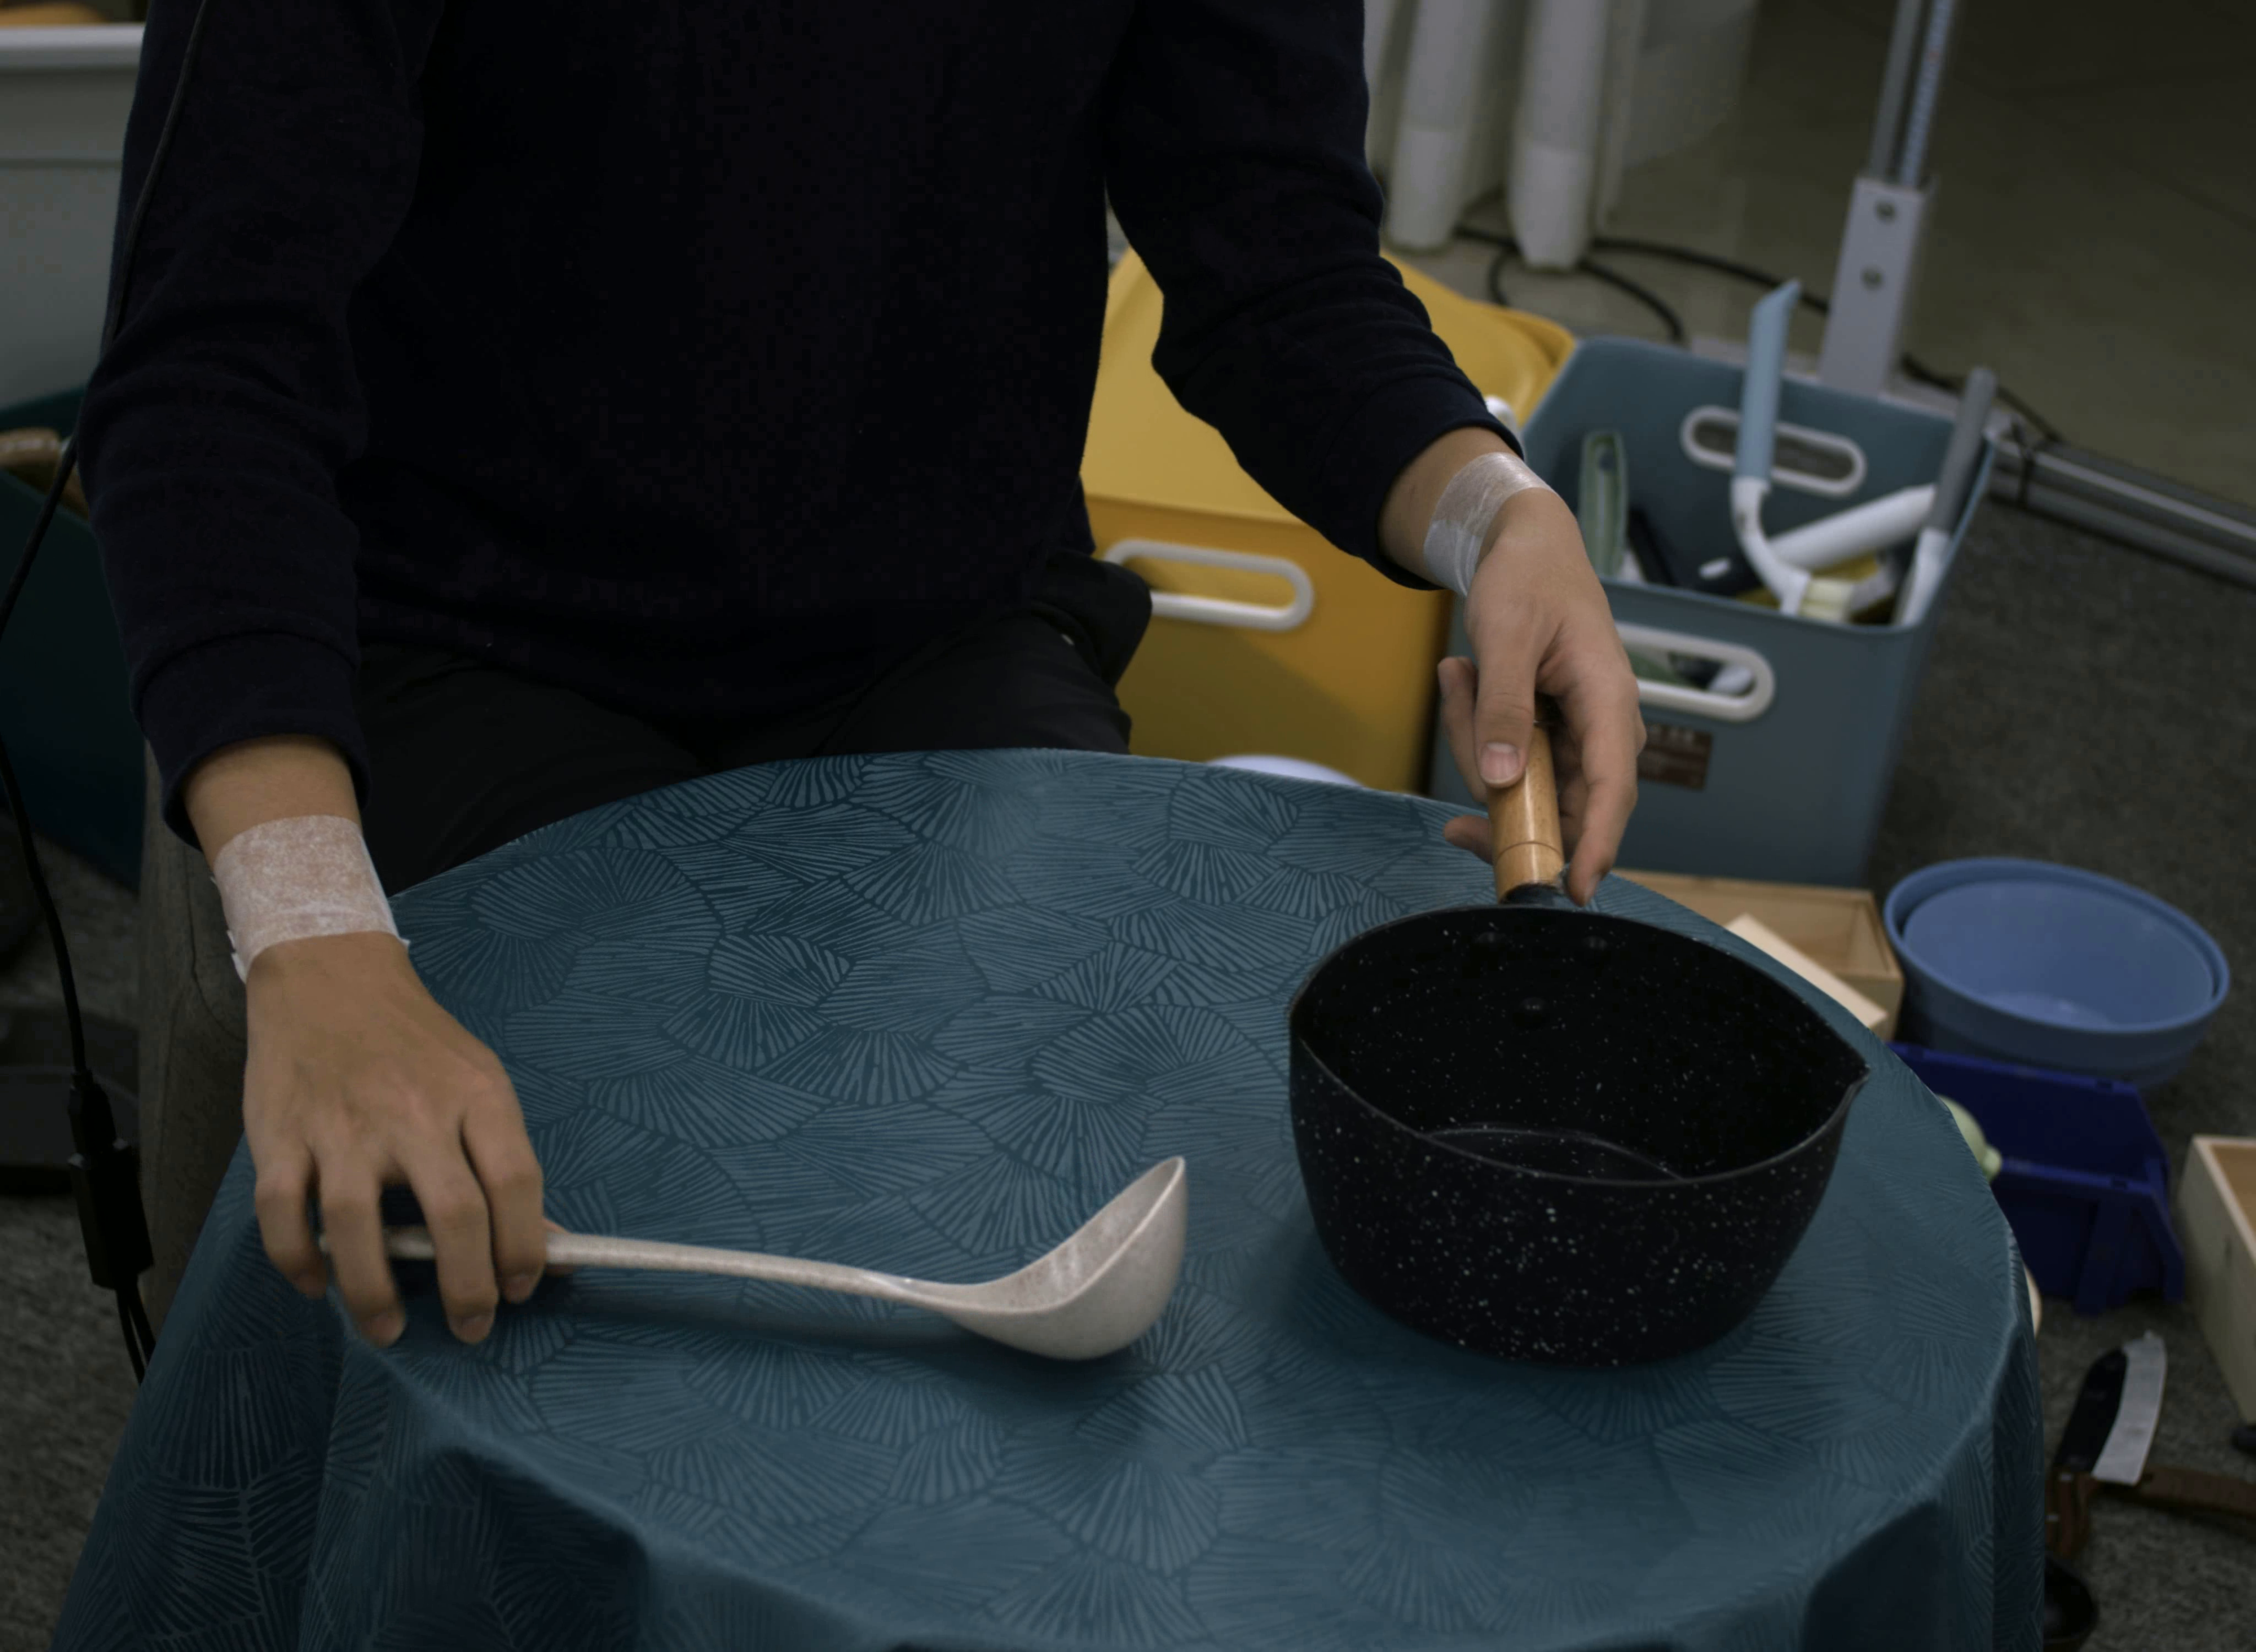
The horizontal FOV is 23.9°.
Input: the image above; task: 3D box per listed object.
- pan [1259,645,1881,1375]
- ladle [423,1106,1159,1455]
[{"bbox_3d":[0.140,0.059,1.841,0.206,0.108,0.345,3,28,-5],"label":"pan"},{"bbox_3d":[-0.117,0.150,1.736,0.275,0.070,0.088,-13,-15,25],"label":"ladle"}]
